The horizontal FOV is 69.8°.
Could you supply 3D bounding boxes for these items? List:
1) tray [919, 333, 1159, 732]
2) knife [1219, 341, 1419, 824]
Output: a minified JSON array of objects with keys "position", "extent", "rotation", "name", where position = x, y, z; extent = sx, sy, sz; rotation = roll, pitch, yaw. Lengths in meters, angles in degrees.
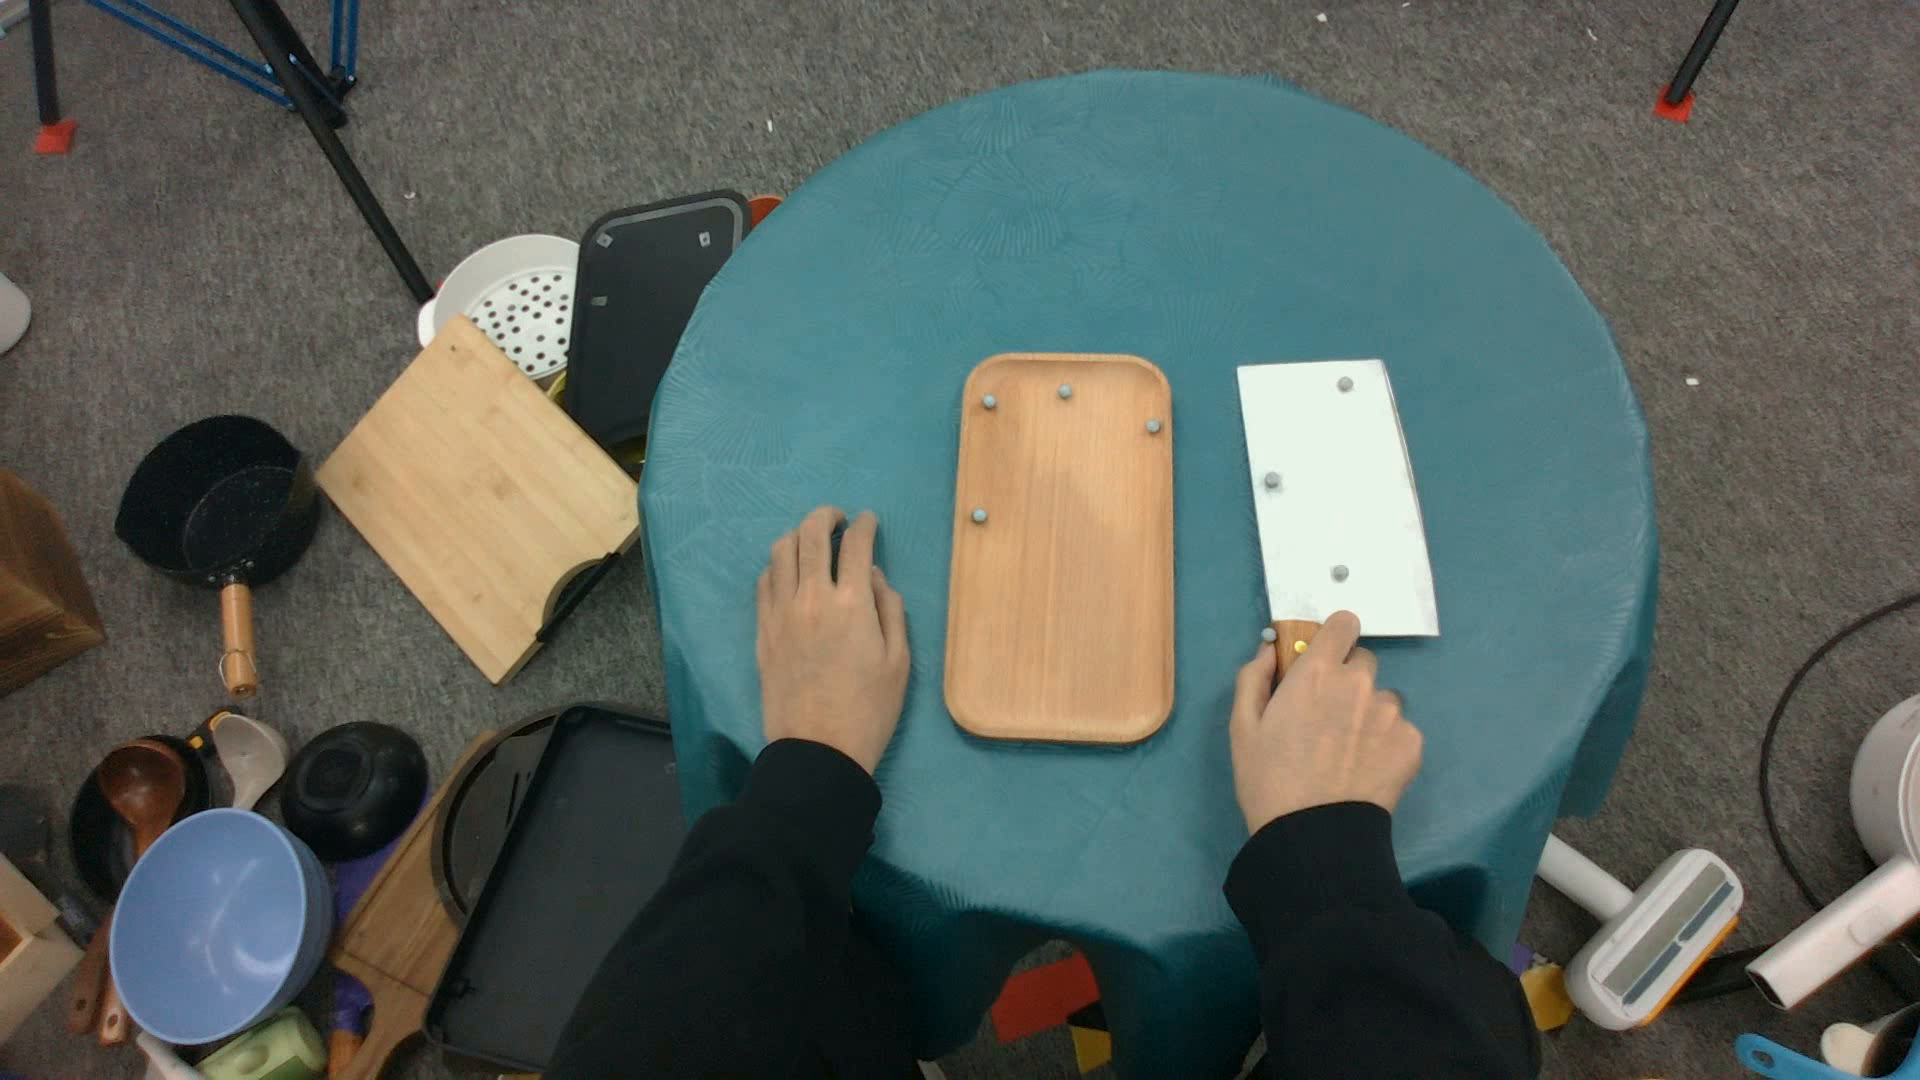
[{"position":[0.049,-0.011,0.794],"extent":[0.130,0.023,0.251],"rotation":[2,64,7],"name":"tray"},{"position":[0.205,0.010,0.770],"extent":[0.093,0.021,0.307],"rotation":[-1,59,1],"name":"knife"}]
